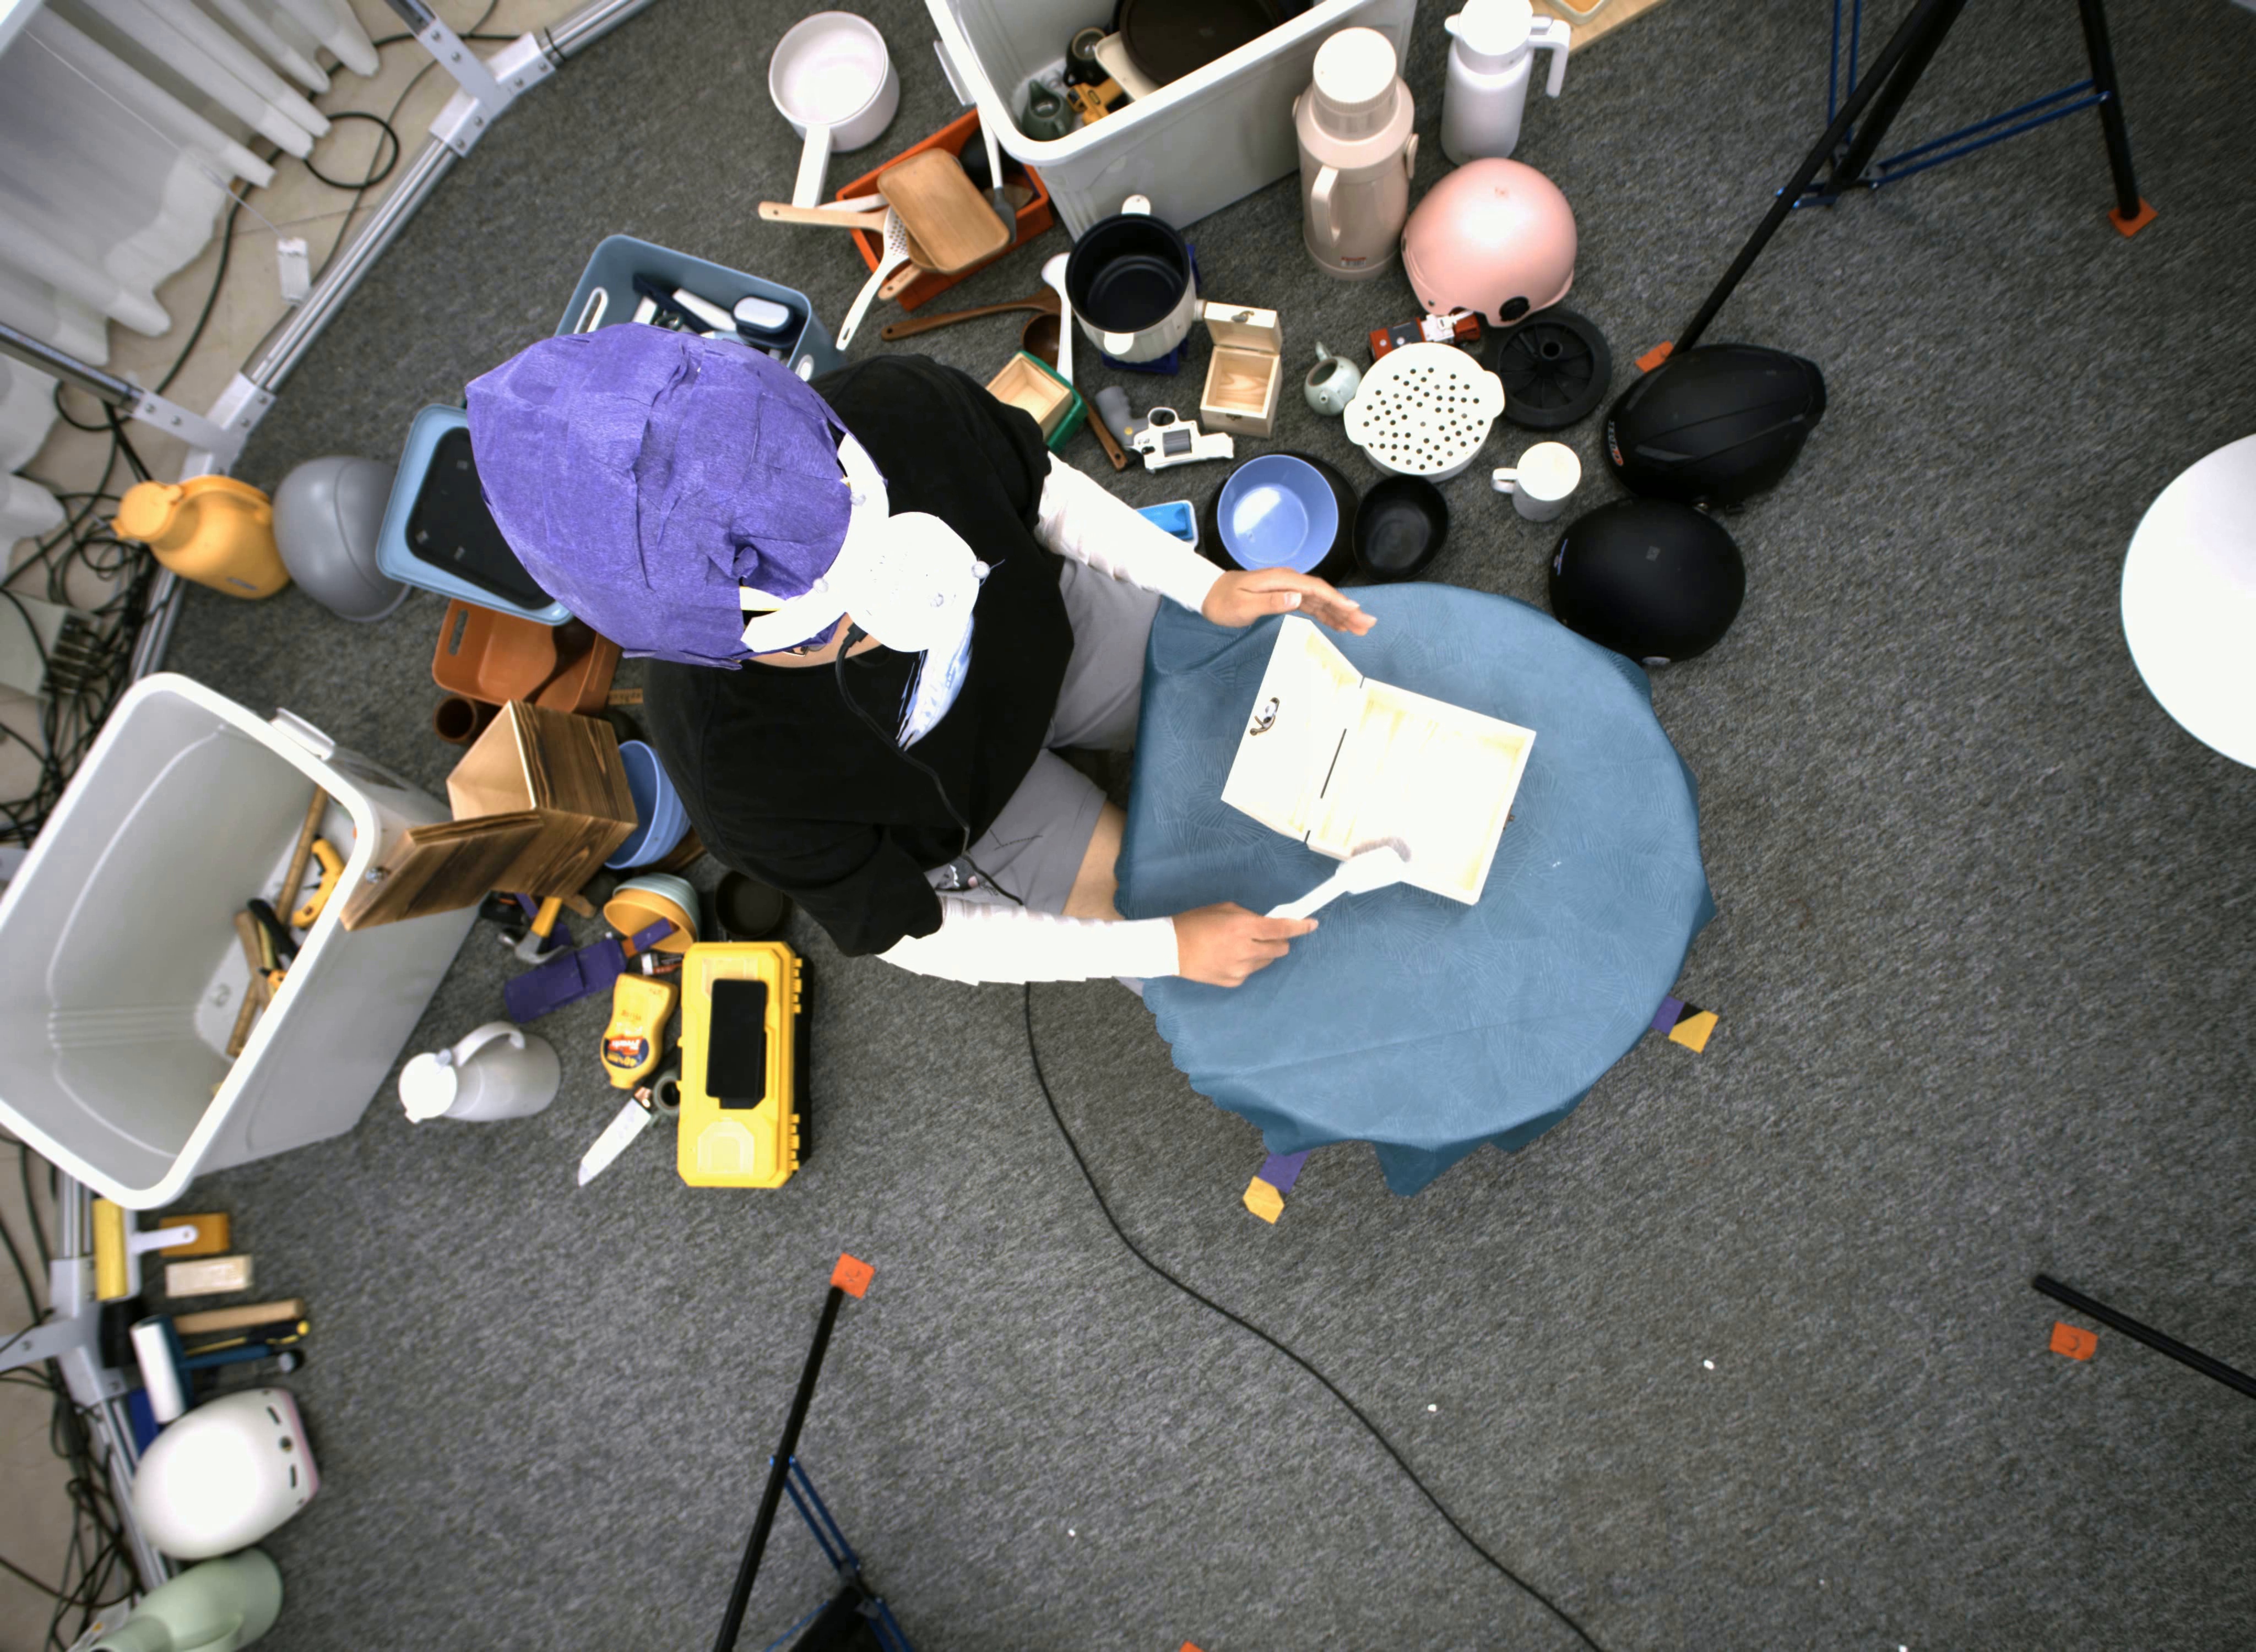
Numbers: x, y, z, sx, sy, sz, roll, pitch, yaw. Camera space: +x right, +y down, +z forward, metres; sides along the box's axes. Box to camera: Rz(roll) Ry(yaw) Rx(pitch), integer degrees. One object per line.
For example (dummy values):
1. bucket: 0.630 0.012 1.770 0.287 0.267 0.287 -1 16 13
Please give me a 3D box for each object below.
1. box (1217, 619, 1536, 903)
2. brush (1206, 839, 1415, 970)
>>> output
1. box: 0.254 -0.055 1.343 0.265 0.253 0.182 19 90 12
2. brush: 0.179 0.078 1.391 0.248 0.049 0.035 -31 115 32
